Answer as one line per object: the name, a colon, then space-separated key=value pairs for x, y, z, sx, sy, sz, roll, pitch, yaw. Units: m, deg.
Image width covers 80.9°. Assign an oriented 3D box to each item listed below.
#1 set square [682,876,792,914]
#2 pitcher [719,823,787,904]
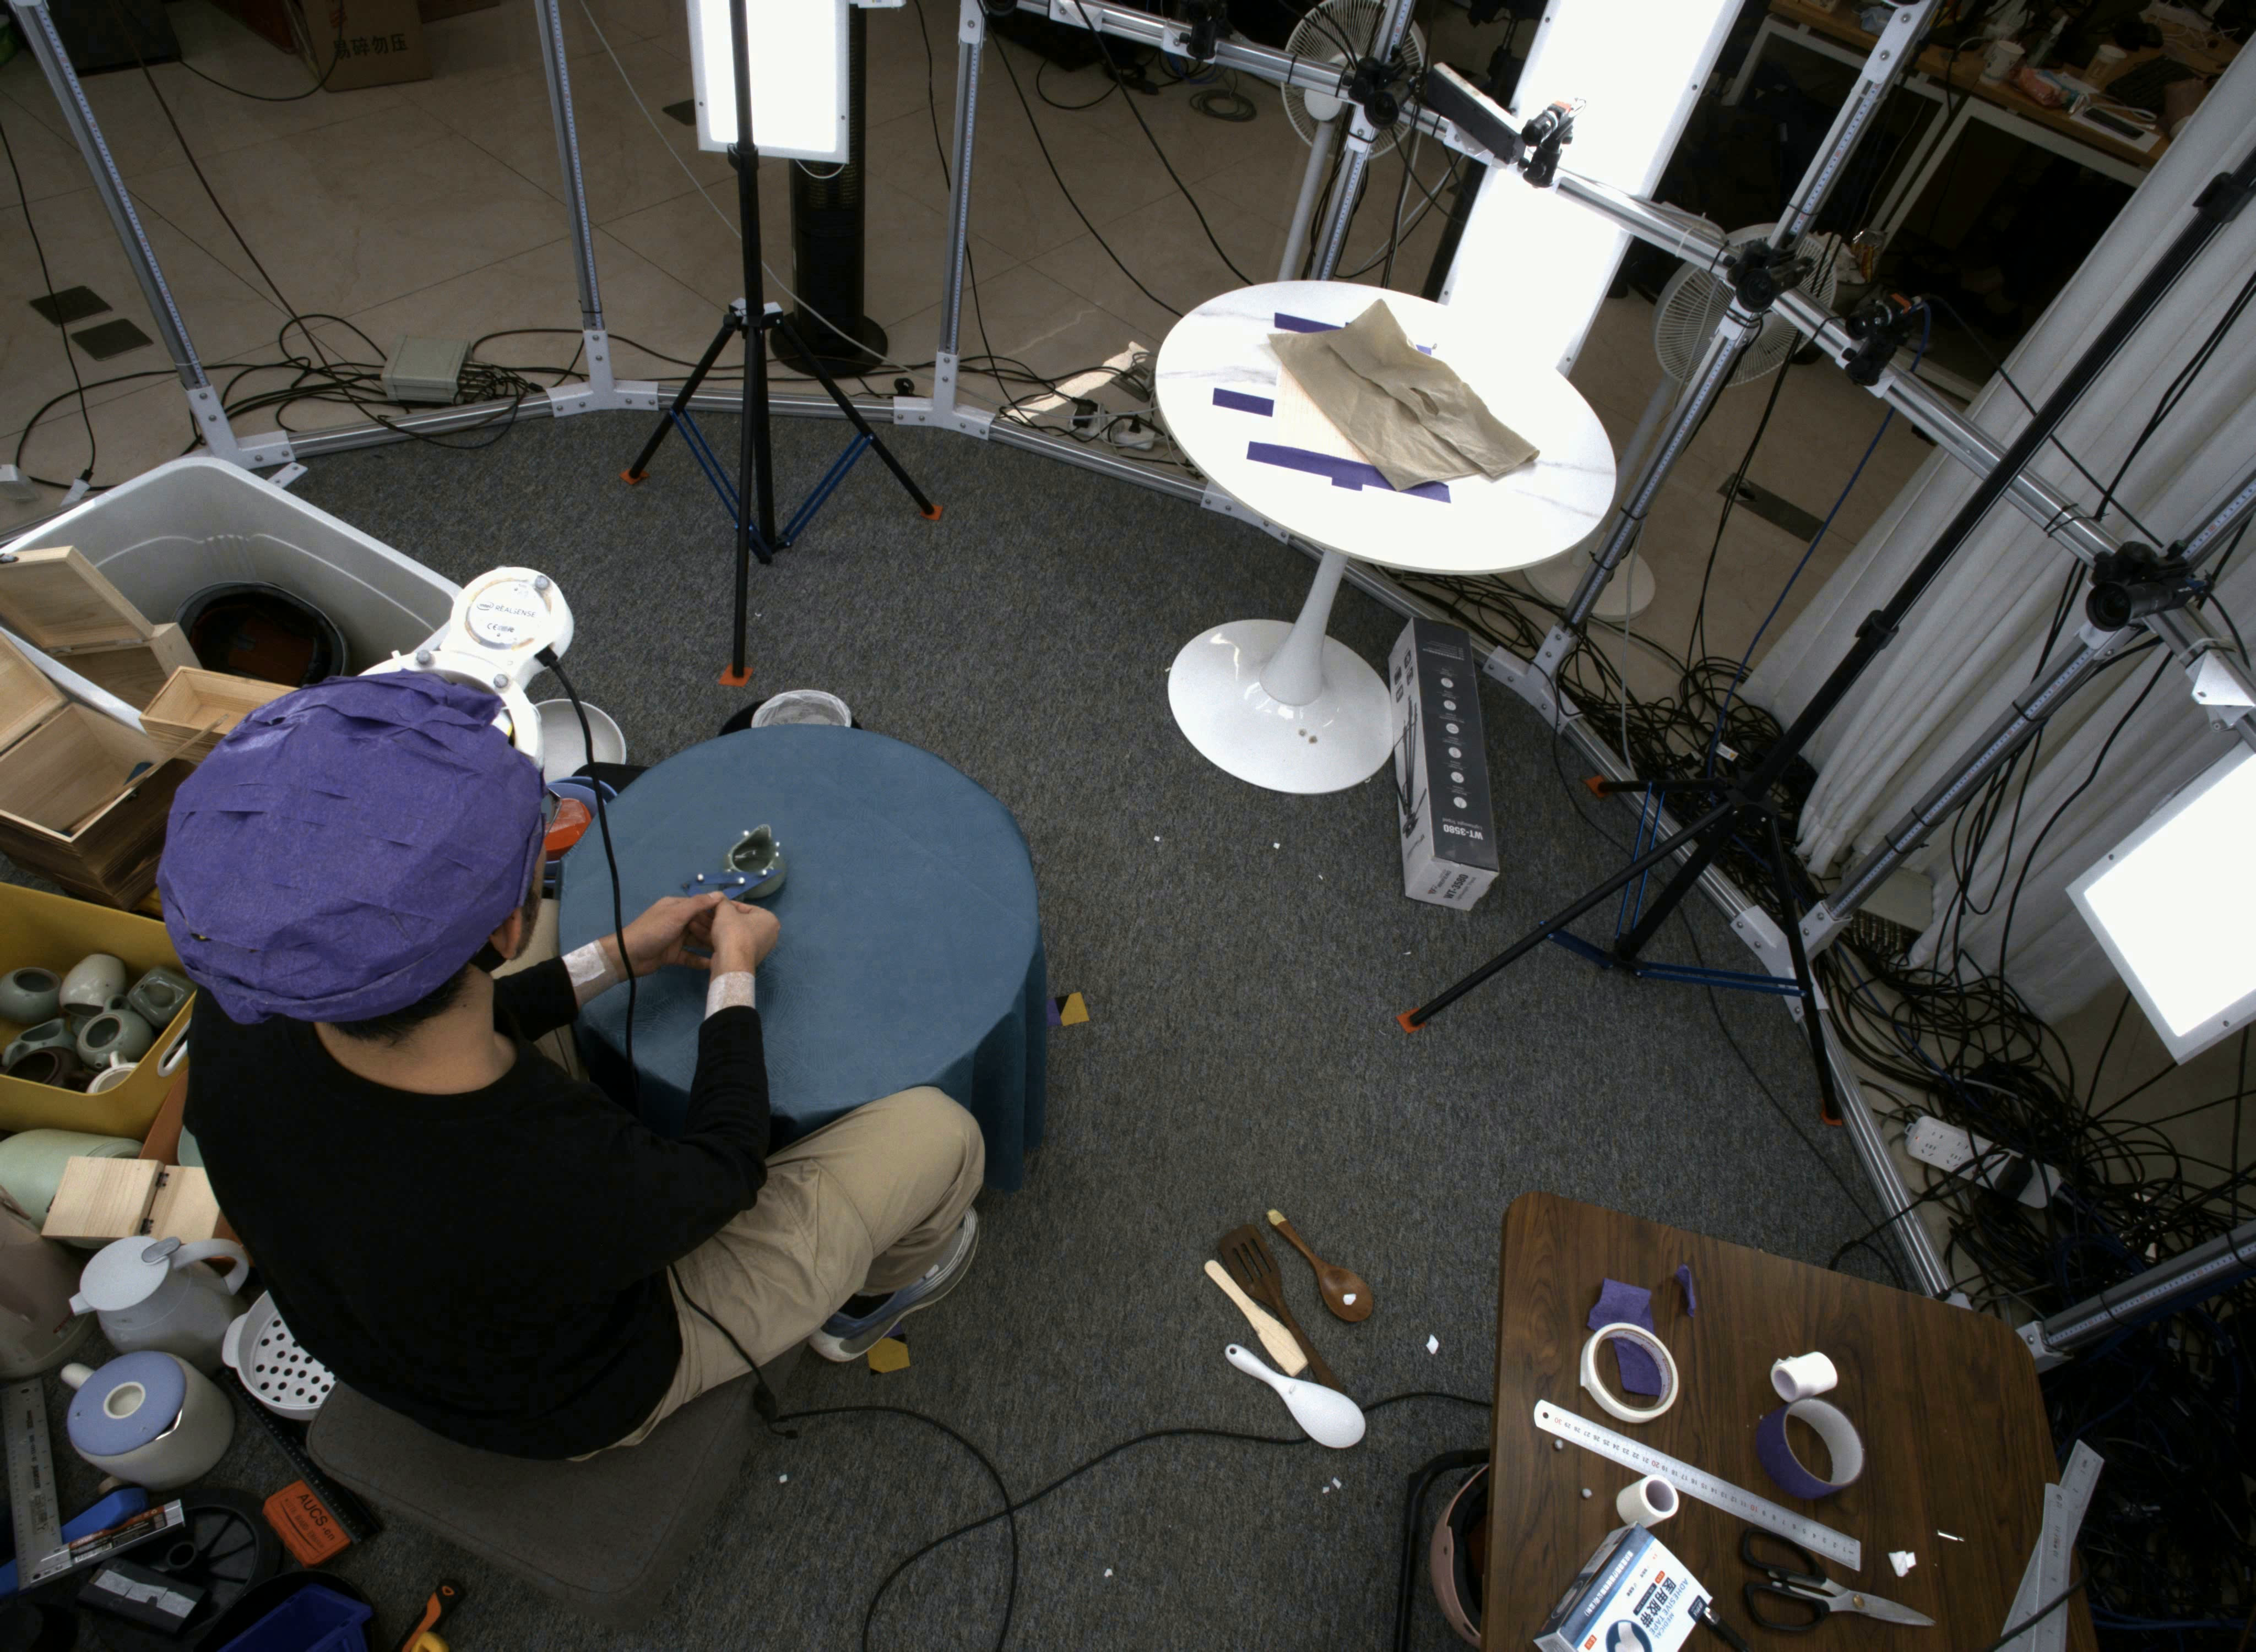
set square: x=-0.471 y=0.080 z=1.569 sx=0.134 sy=0.007 sz=0.059 roll=0 pitch=44 yaw=-28
pitcher: x=-0.476 y=0.054 z=1.628 sx=0.083 sy=0.057 sz=0.111 roll=14 pitch=51 yaw=0
